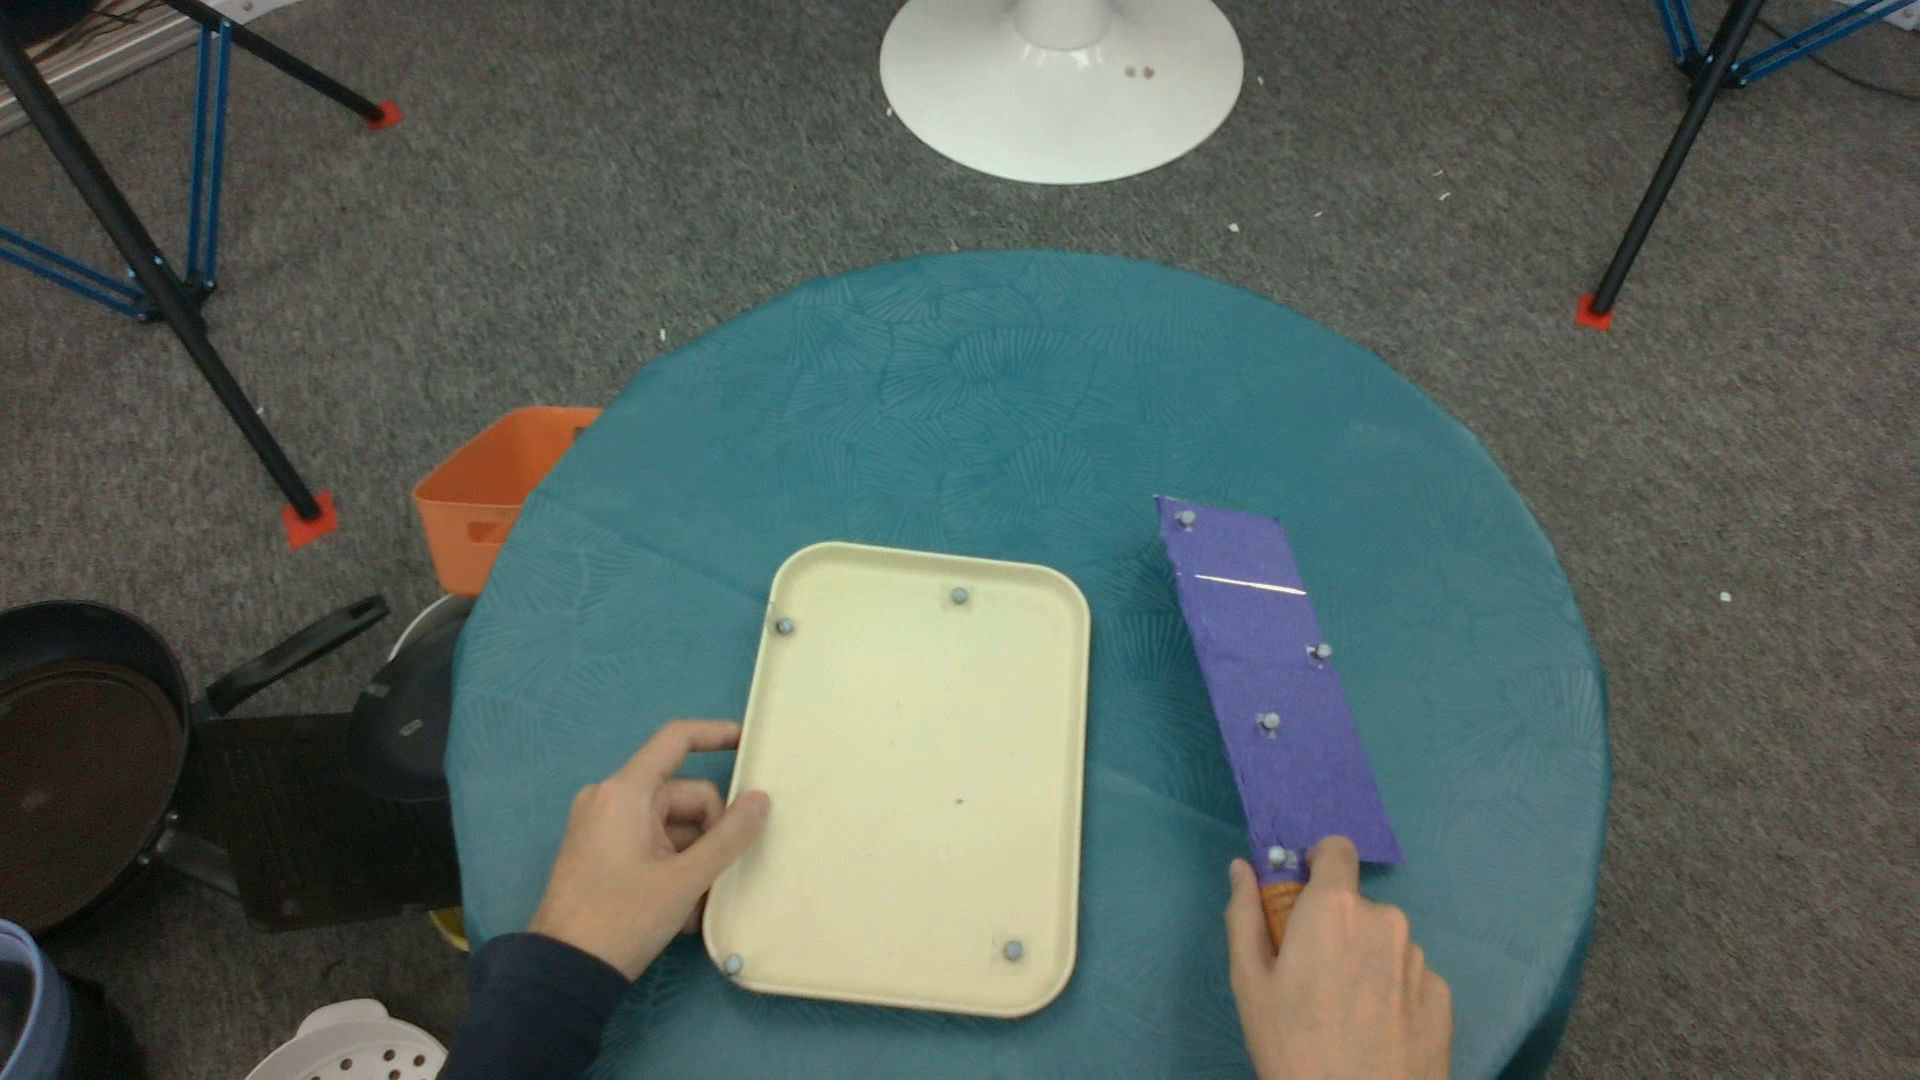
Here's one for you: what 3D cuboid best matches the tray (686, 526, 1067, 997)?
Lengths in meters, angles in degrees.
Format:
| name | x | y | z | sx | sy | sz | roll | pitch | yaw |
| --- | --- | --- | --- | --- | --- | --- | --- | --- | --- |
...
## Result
| name | x | y | z | sx | sy | sz | roll | pitch | yaw |
| --- | --- | --- | --- | --- | --- | --- | --- | --- | --- |
| tray | -0.034 | 0.101 | 0.680 | 0.171 | 0.017 | 0.241 | 7 | 56 | -3 |

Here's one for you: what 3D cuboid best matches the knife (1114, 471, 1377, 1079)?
| name | x | y | z | sx | sy | sz | roll | pitch | yaw |
| --- | --- | --- | --- | --- | --- | --- | --- | --- | --- |
| knife | 0.154 | 0.095 | 0.665 | 0.104 | 0.032 | 0.316 | 9 | 52 | -28 |
